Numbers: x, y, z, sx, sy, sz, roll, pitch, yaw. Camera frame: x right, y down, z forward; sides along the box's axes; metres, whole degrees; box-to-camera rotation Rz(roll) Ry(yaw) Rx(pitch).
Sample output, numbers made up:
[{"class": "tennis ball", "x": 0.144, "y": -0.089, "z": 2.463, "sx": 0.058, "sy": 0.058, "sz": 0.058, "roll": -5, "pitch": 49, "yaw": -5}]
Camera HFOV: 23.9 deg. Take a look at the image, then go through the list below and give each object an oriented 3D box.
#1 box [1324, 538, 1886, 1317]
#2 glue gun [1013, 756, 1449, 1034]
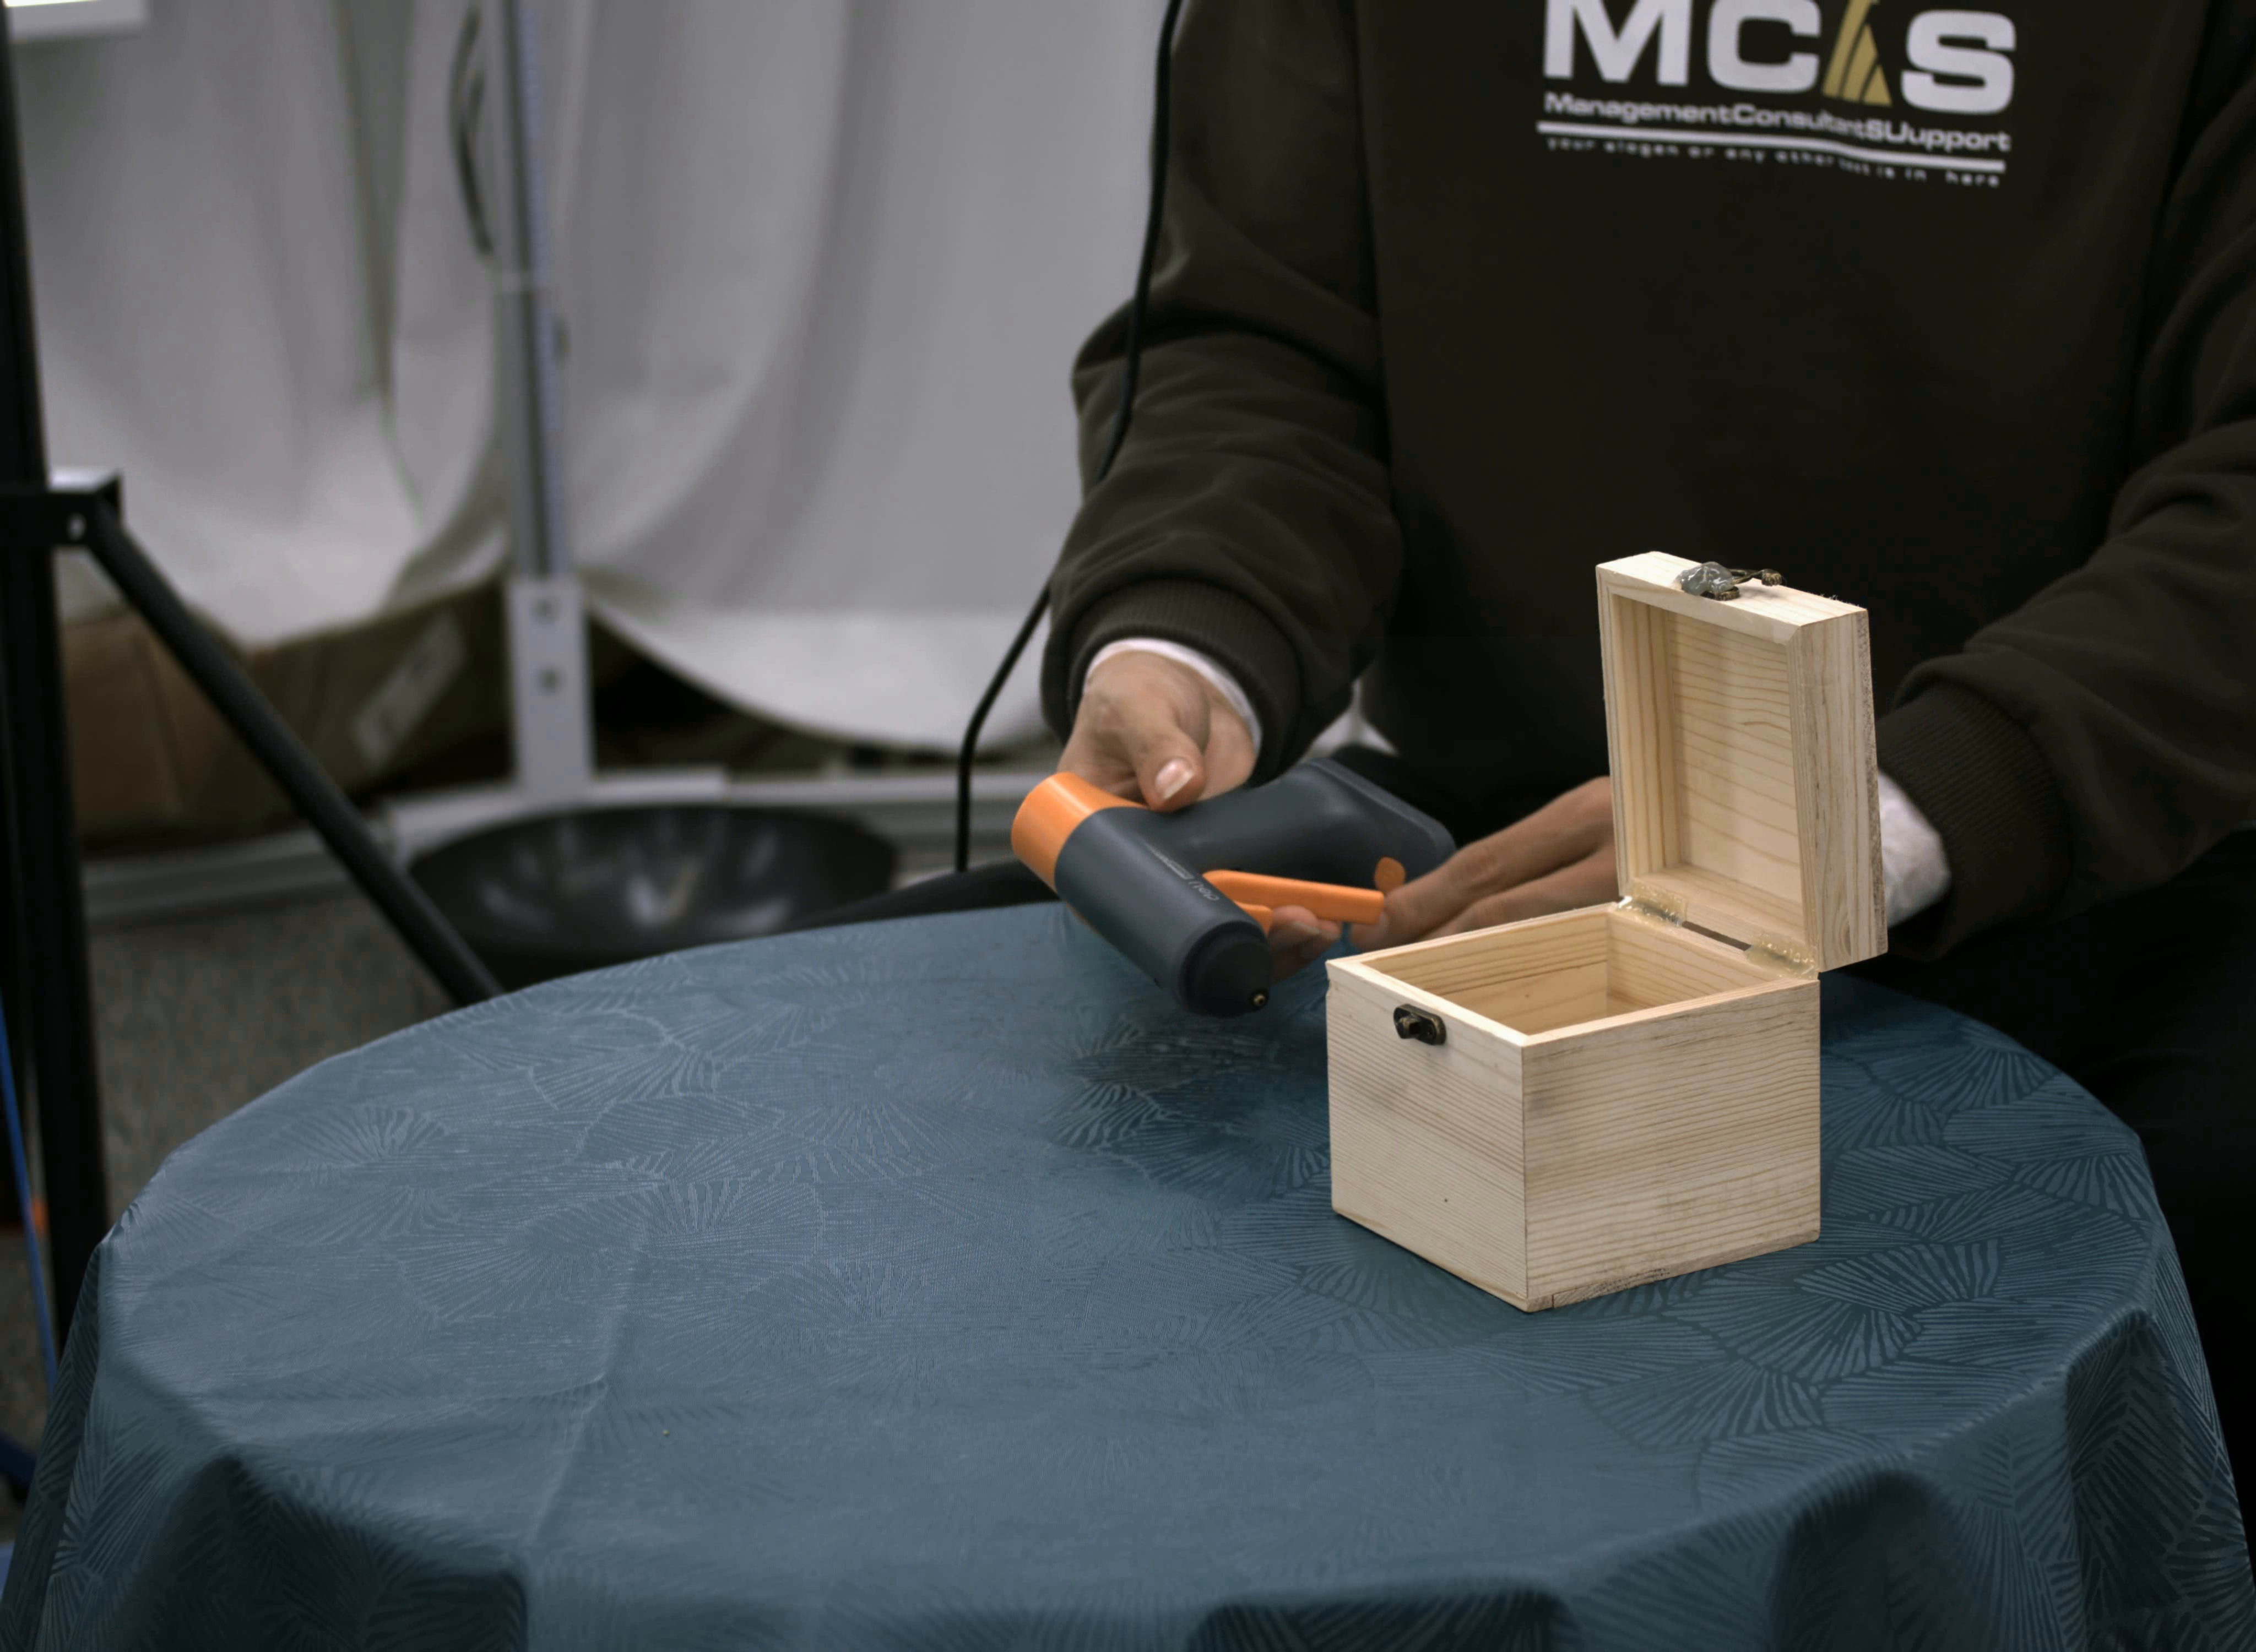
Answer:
[{"class": "box", "x": 0.131, "y": 0.025, "z": 1.489, "sx": 0.131, "sy": 0.184, "sz": 0.105, "roll": -11, "pitch": 18, "yaw": -29}, {"class": "glue gun", "x": 0.035, "y": 0.020, "z": 1.638, "sx": 0.120, "sy": 0.041, "sz": 0.136, "roll": 36, "pitch": 29, "yaw": 31}]
